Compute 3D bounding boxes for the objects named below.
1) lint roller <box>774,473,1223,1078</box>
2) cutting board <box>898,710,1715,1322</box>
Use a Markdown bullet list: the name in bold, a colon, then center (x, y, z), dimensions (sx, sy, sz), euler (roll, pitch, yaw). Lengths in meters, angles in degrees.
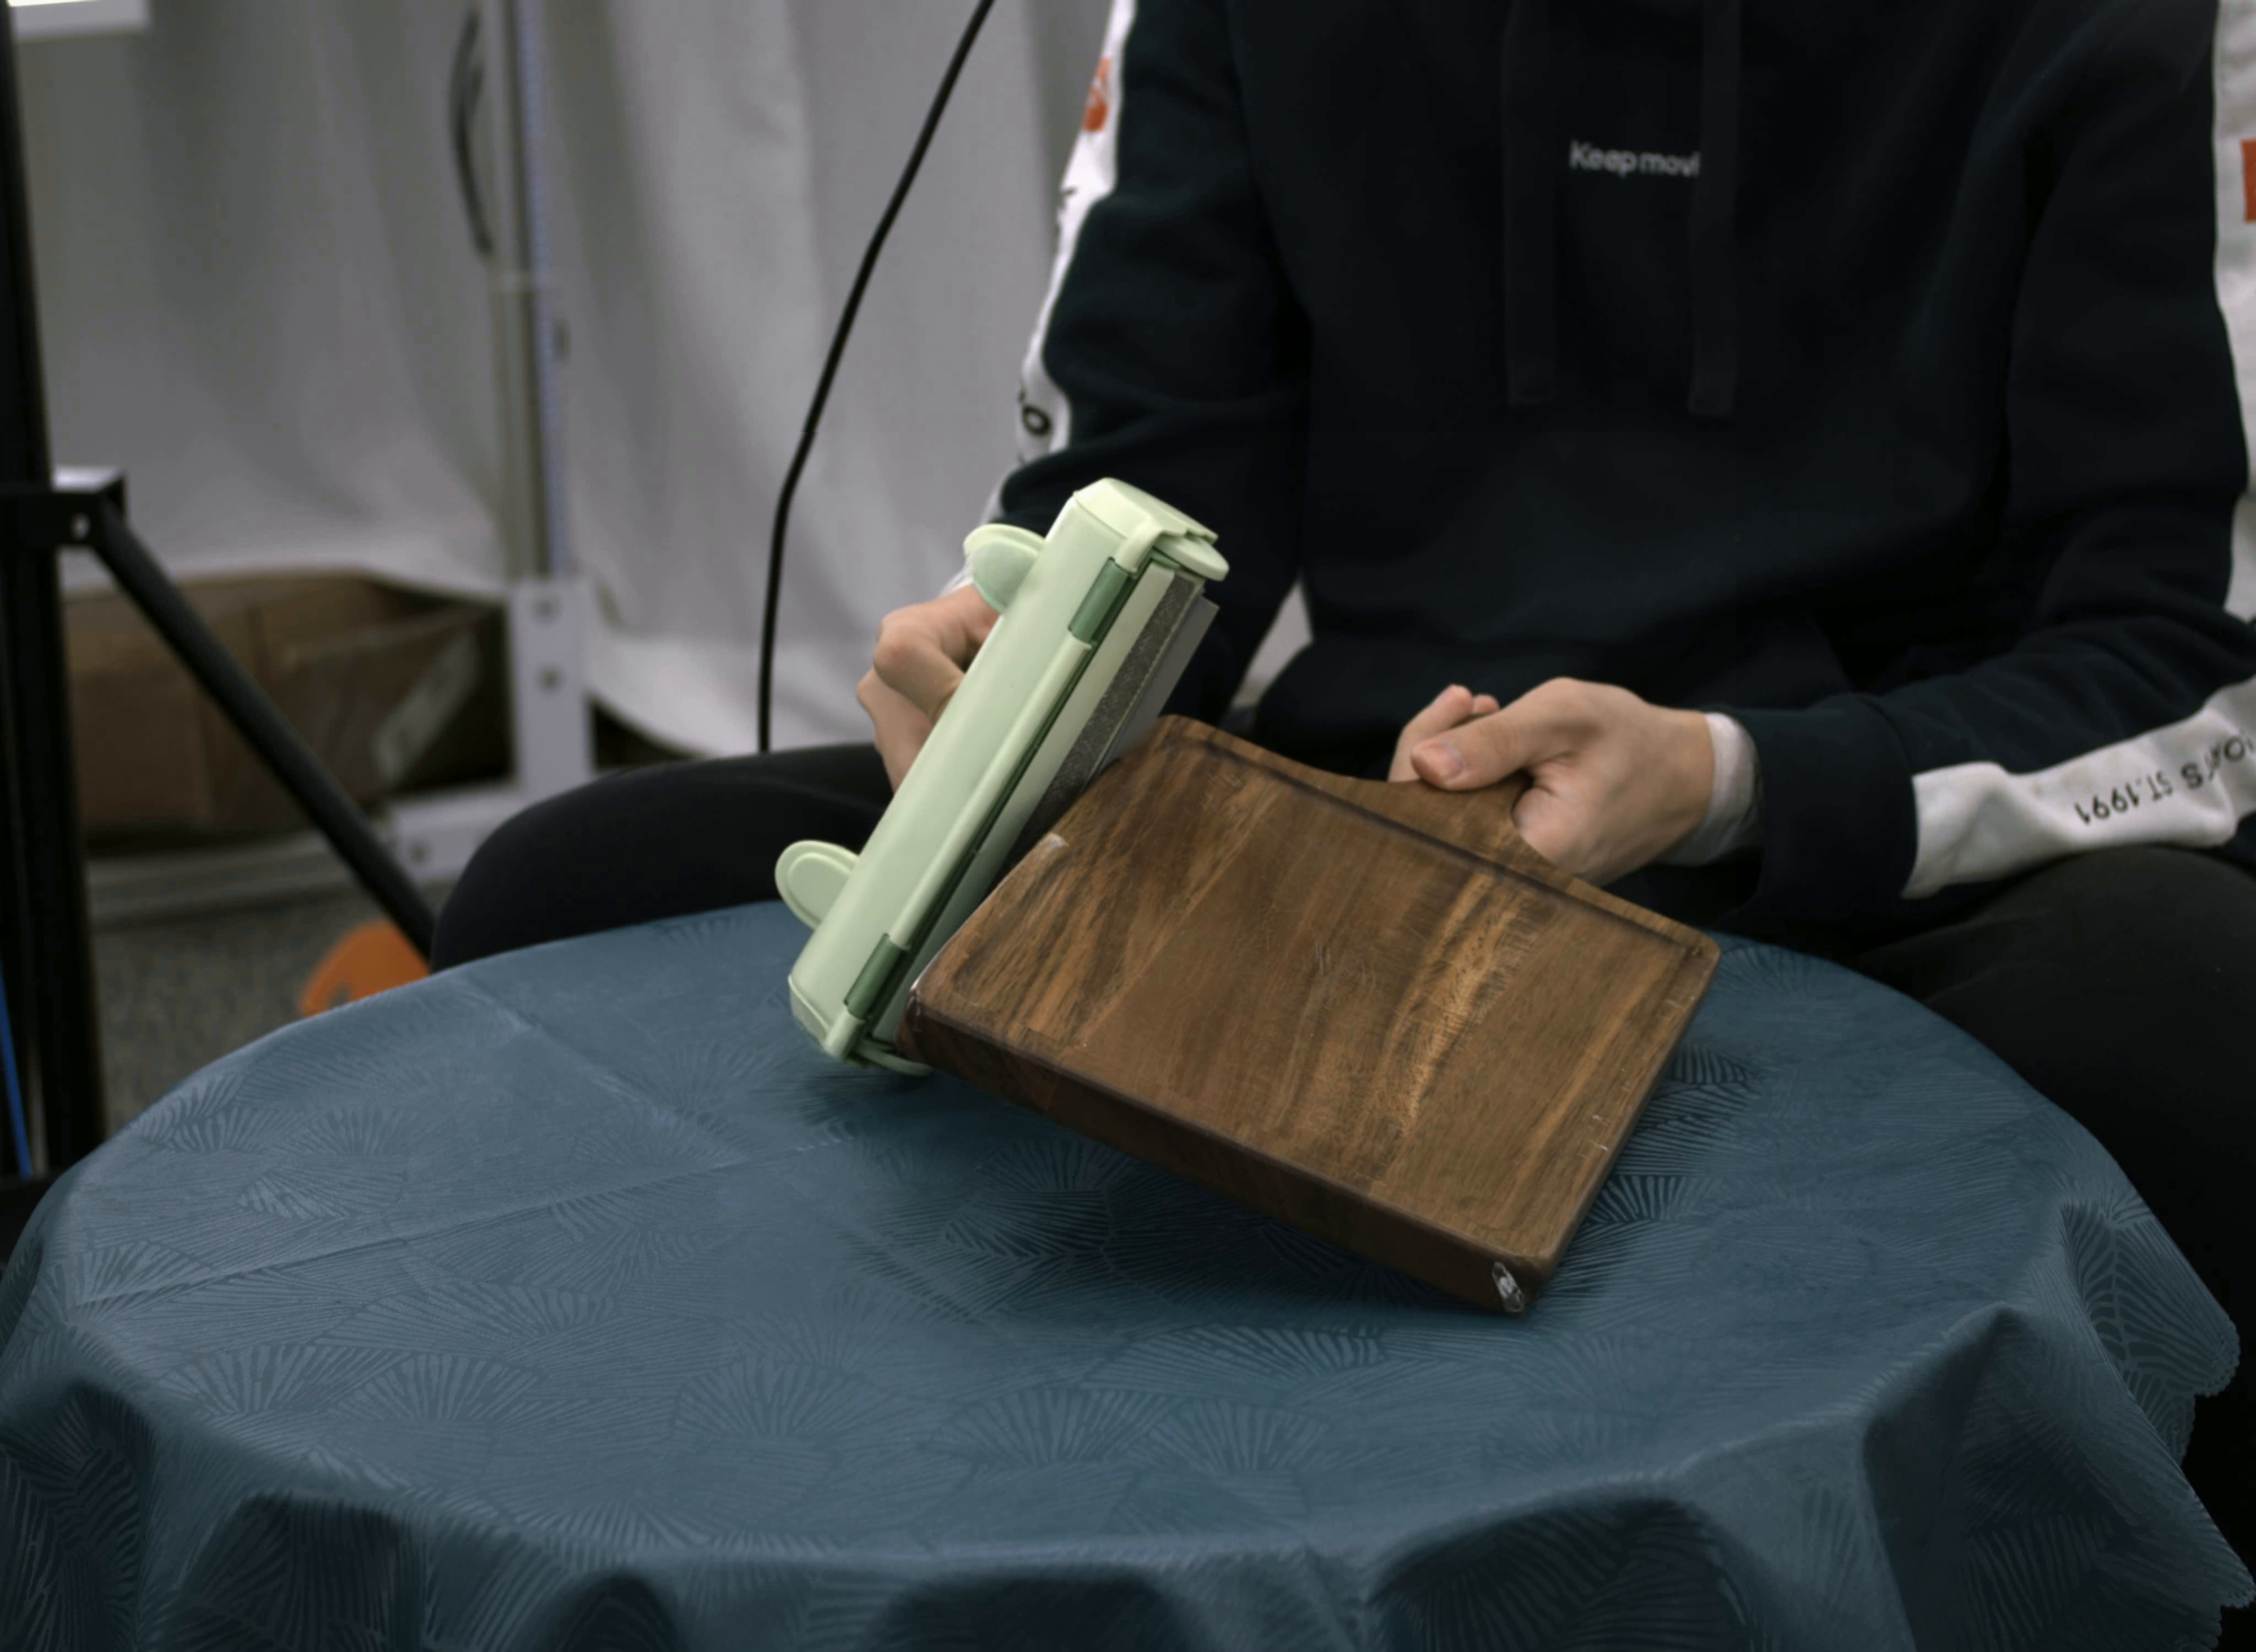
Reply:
- **lint roller**: center (-0.051, -0.033, 1.704), dimensions (0.081, 0.199, 0.185), euler (28, 11, -14)
- **cutting board**: center (0.074, 0.034, 1.610), dimensions (0.202, 0.023, 0.349), euler (22, 25, 10)
